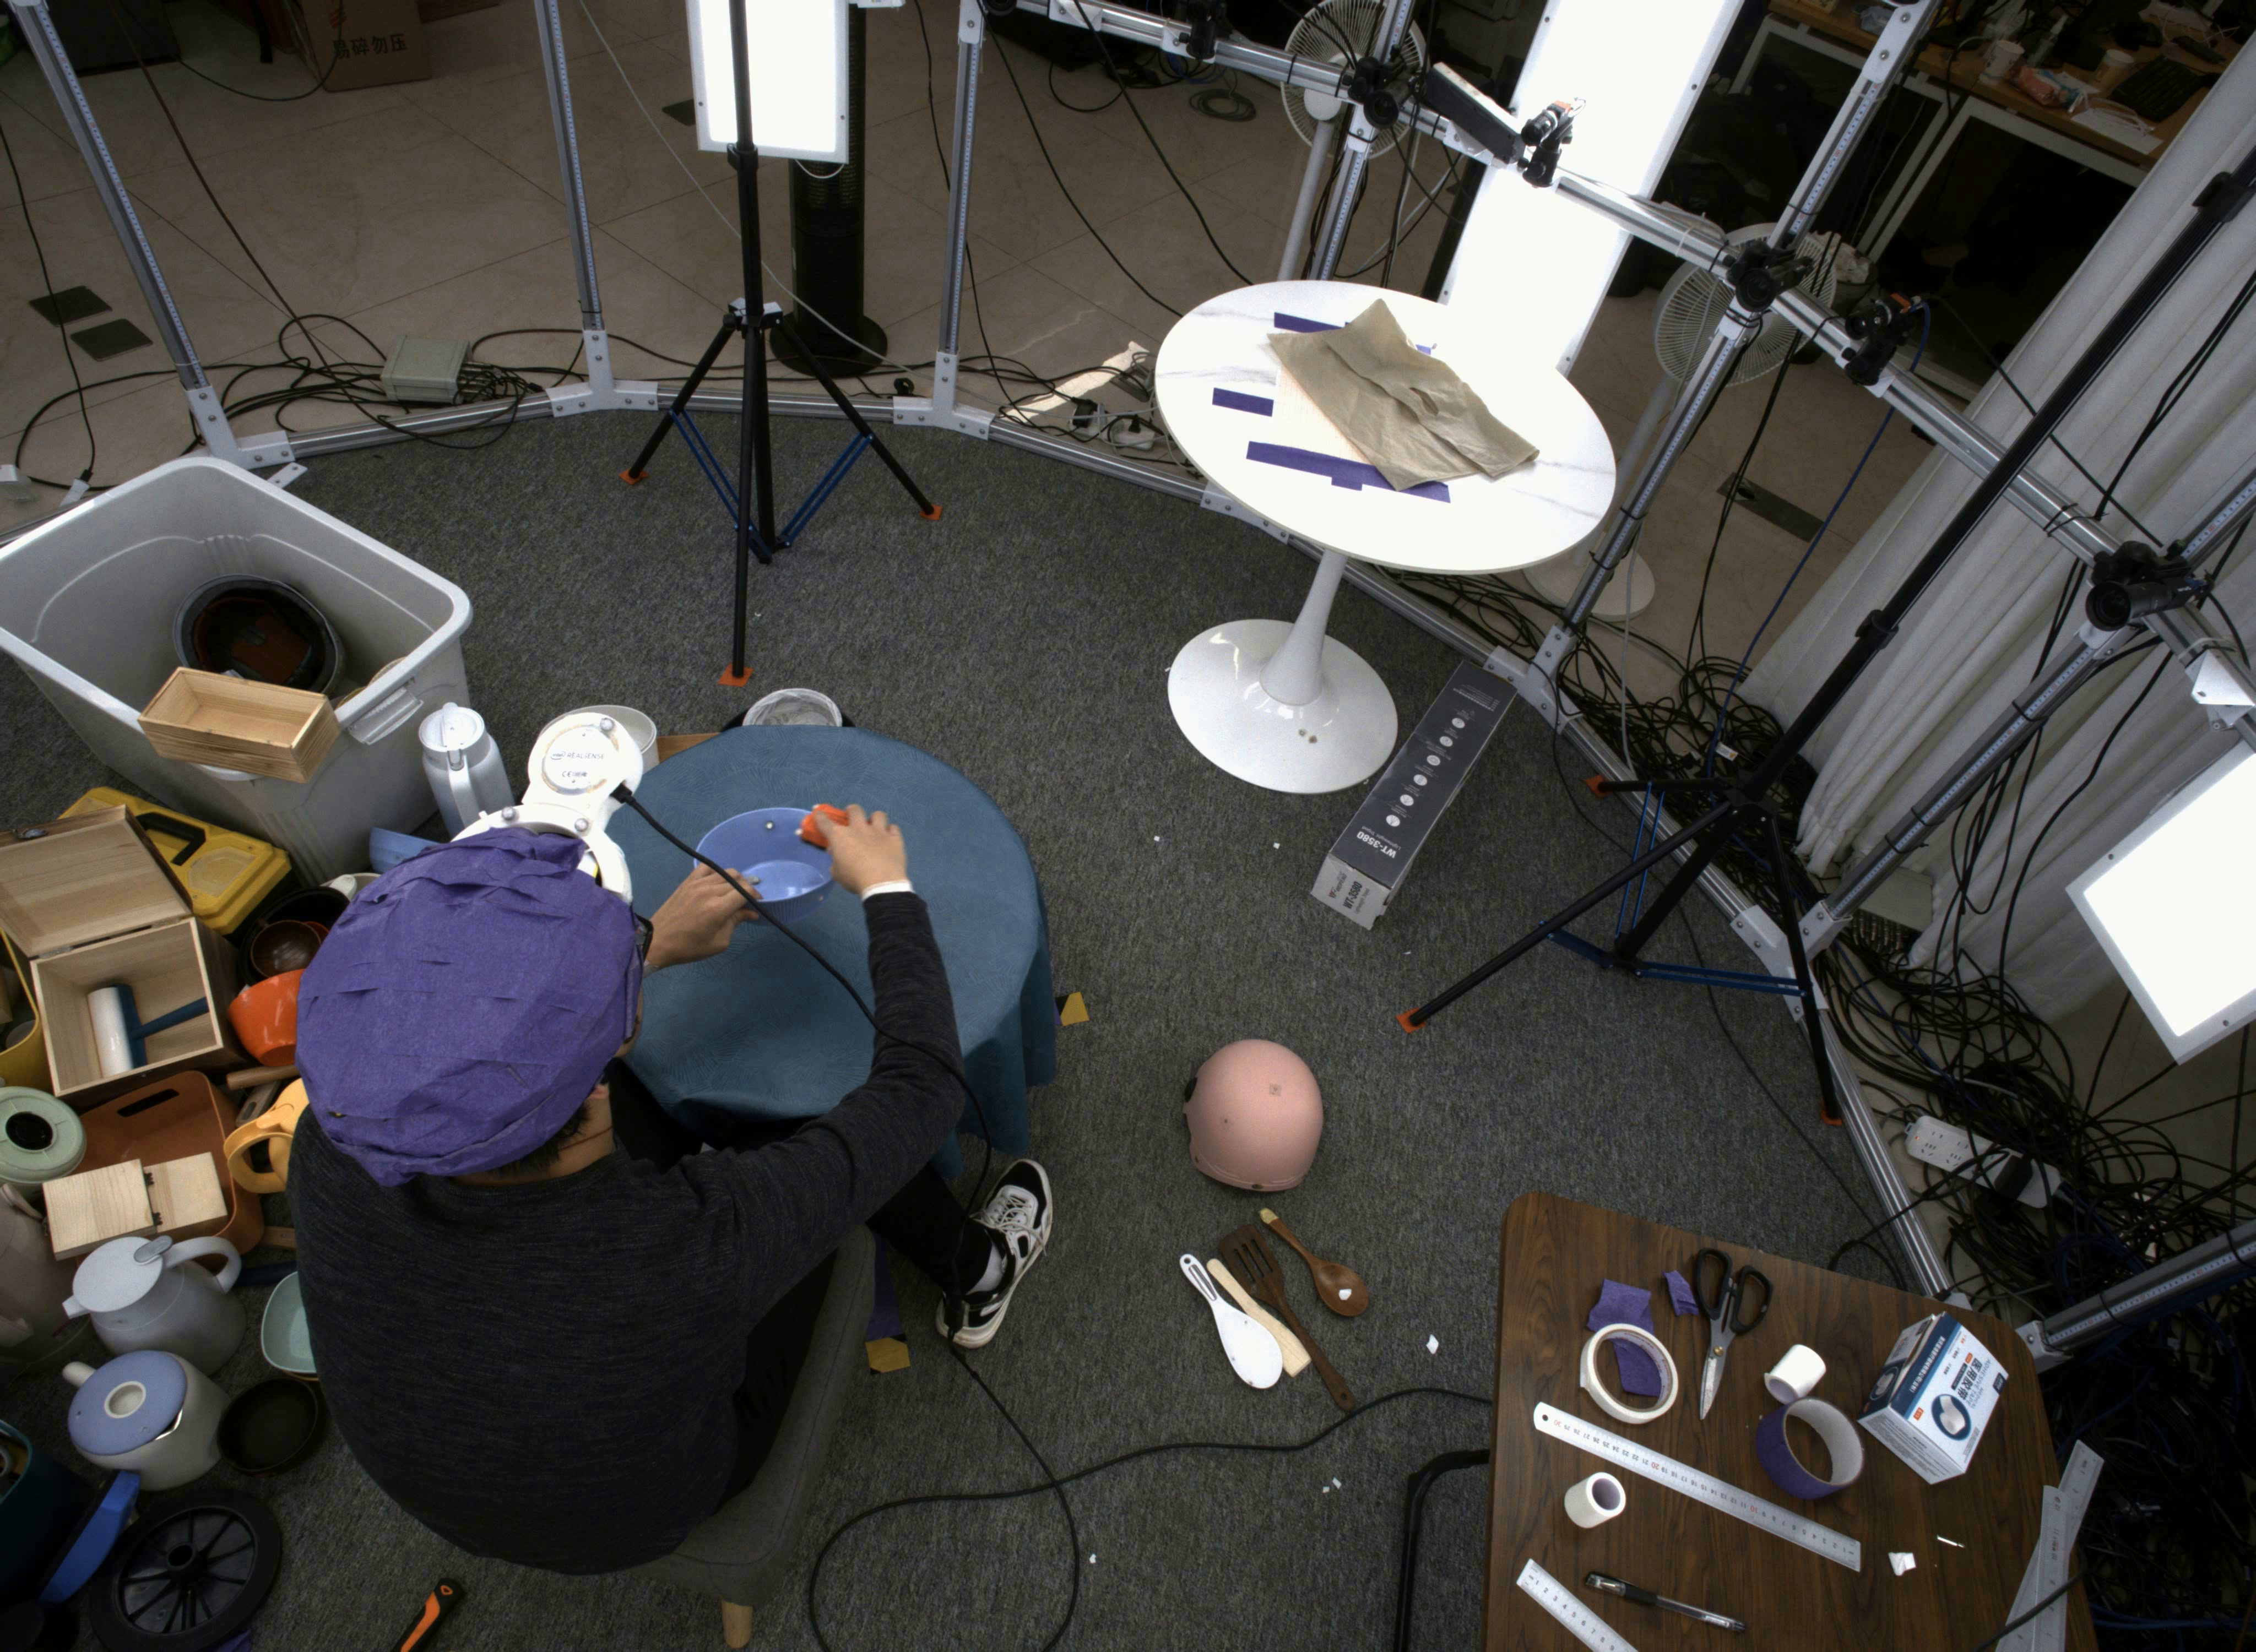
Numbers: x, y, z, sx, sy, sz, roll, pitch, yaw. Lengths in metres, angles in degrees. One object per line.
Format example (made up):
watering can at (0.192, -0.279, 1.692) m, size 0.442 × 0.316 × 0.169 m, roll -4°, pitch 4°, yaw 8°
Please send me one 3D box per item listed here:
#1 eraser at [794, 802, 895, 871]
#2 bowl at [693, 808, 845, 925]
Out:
eraser at (-0.329, 0.011, 1.508) m, size 0.107 × 0.023 × 0.058 m, roll 22°, pitch 35°, yaw 2°
bowl at (-0.414, 0.053, 1.512) m, size 0.174 × 0.072 × 0.172 m, roll 4°, pitch 36°, yaw -2°
